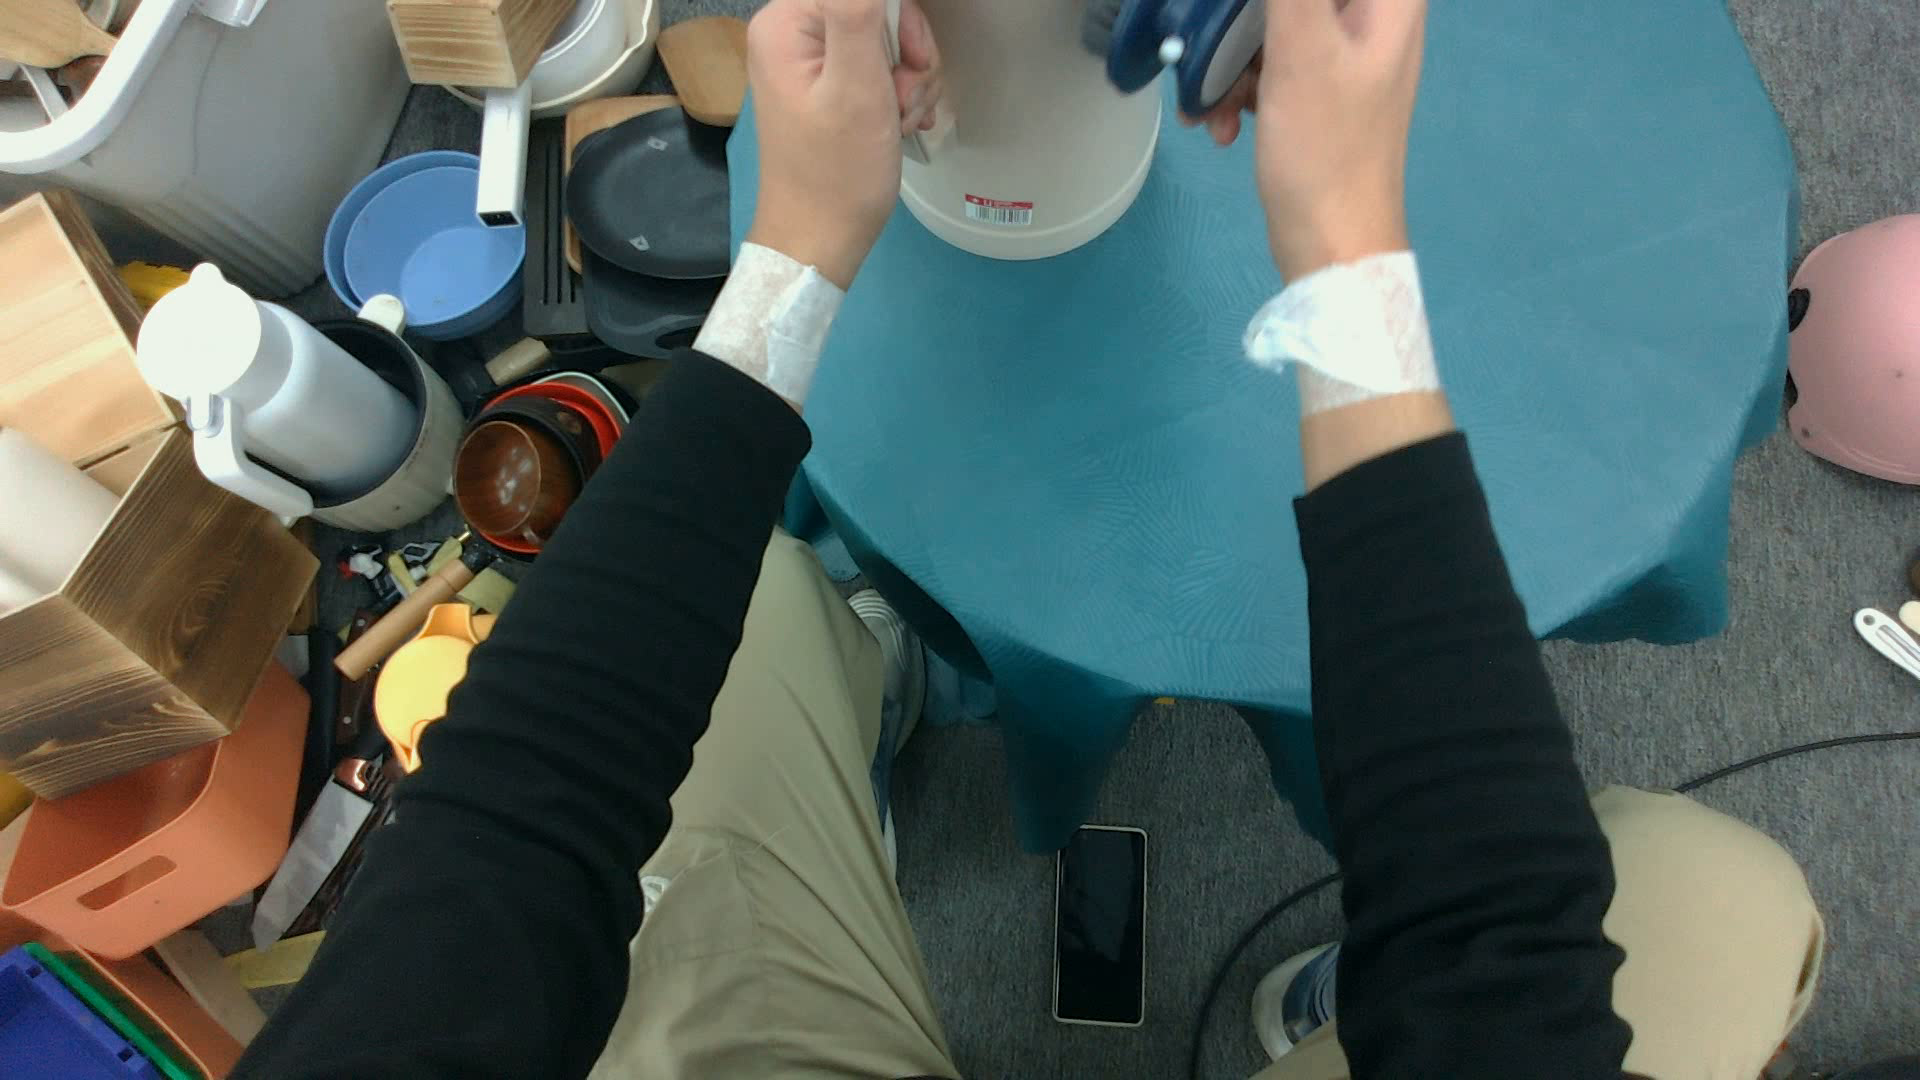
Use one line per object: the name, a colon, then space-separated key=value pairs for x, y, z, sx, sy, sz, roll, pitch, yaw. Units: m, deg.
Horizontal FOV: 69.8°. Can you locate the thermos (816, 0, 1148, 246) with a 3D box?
thermos: x=0.006 y=-0.277 z=0.610 sx=0.175 sy=0.405 sz=0.207 roll=28 pitch=79 yaw=7

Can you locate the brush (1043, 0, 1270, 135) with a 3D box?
brush: x=0.083 y=-0.217 z=0.526 sx=0.061 sy=0.068 sz=0.121 roll=38 pitch=92 yaw=13
